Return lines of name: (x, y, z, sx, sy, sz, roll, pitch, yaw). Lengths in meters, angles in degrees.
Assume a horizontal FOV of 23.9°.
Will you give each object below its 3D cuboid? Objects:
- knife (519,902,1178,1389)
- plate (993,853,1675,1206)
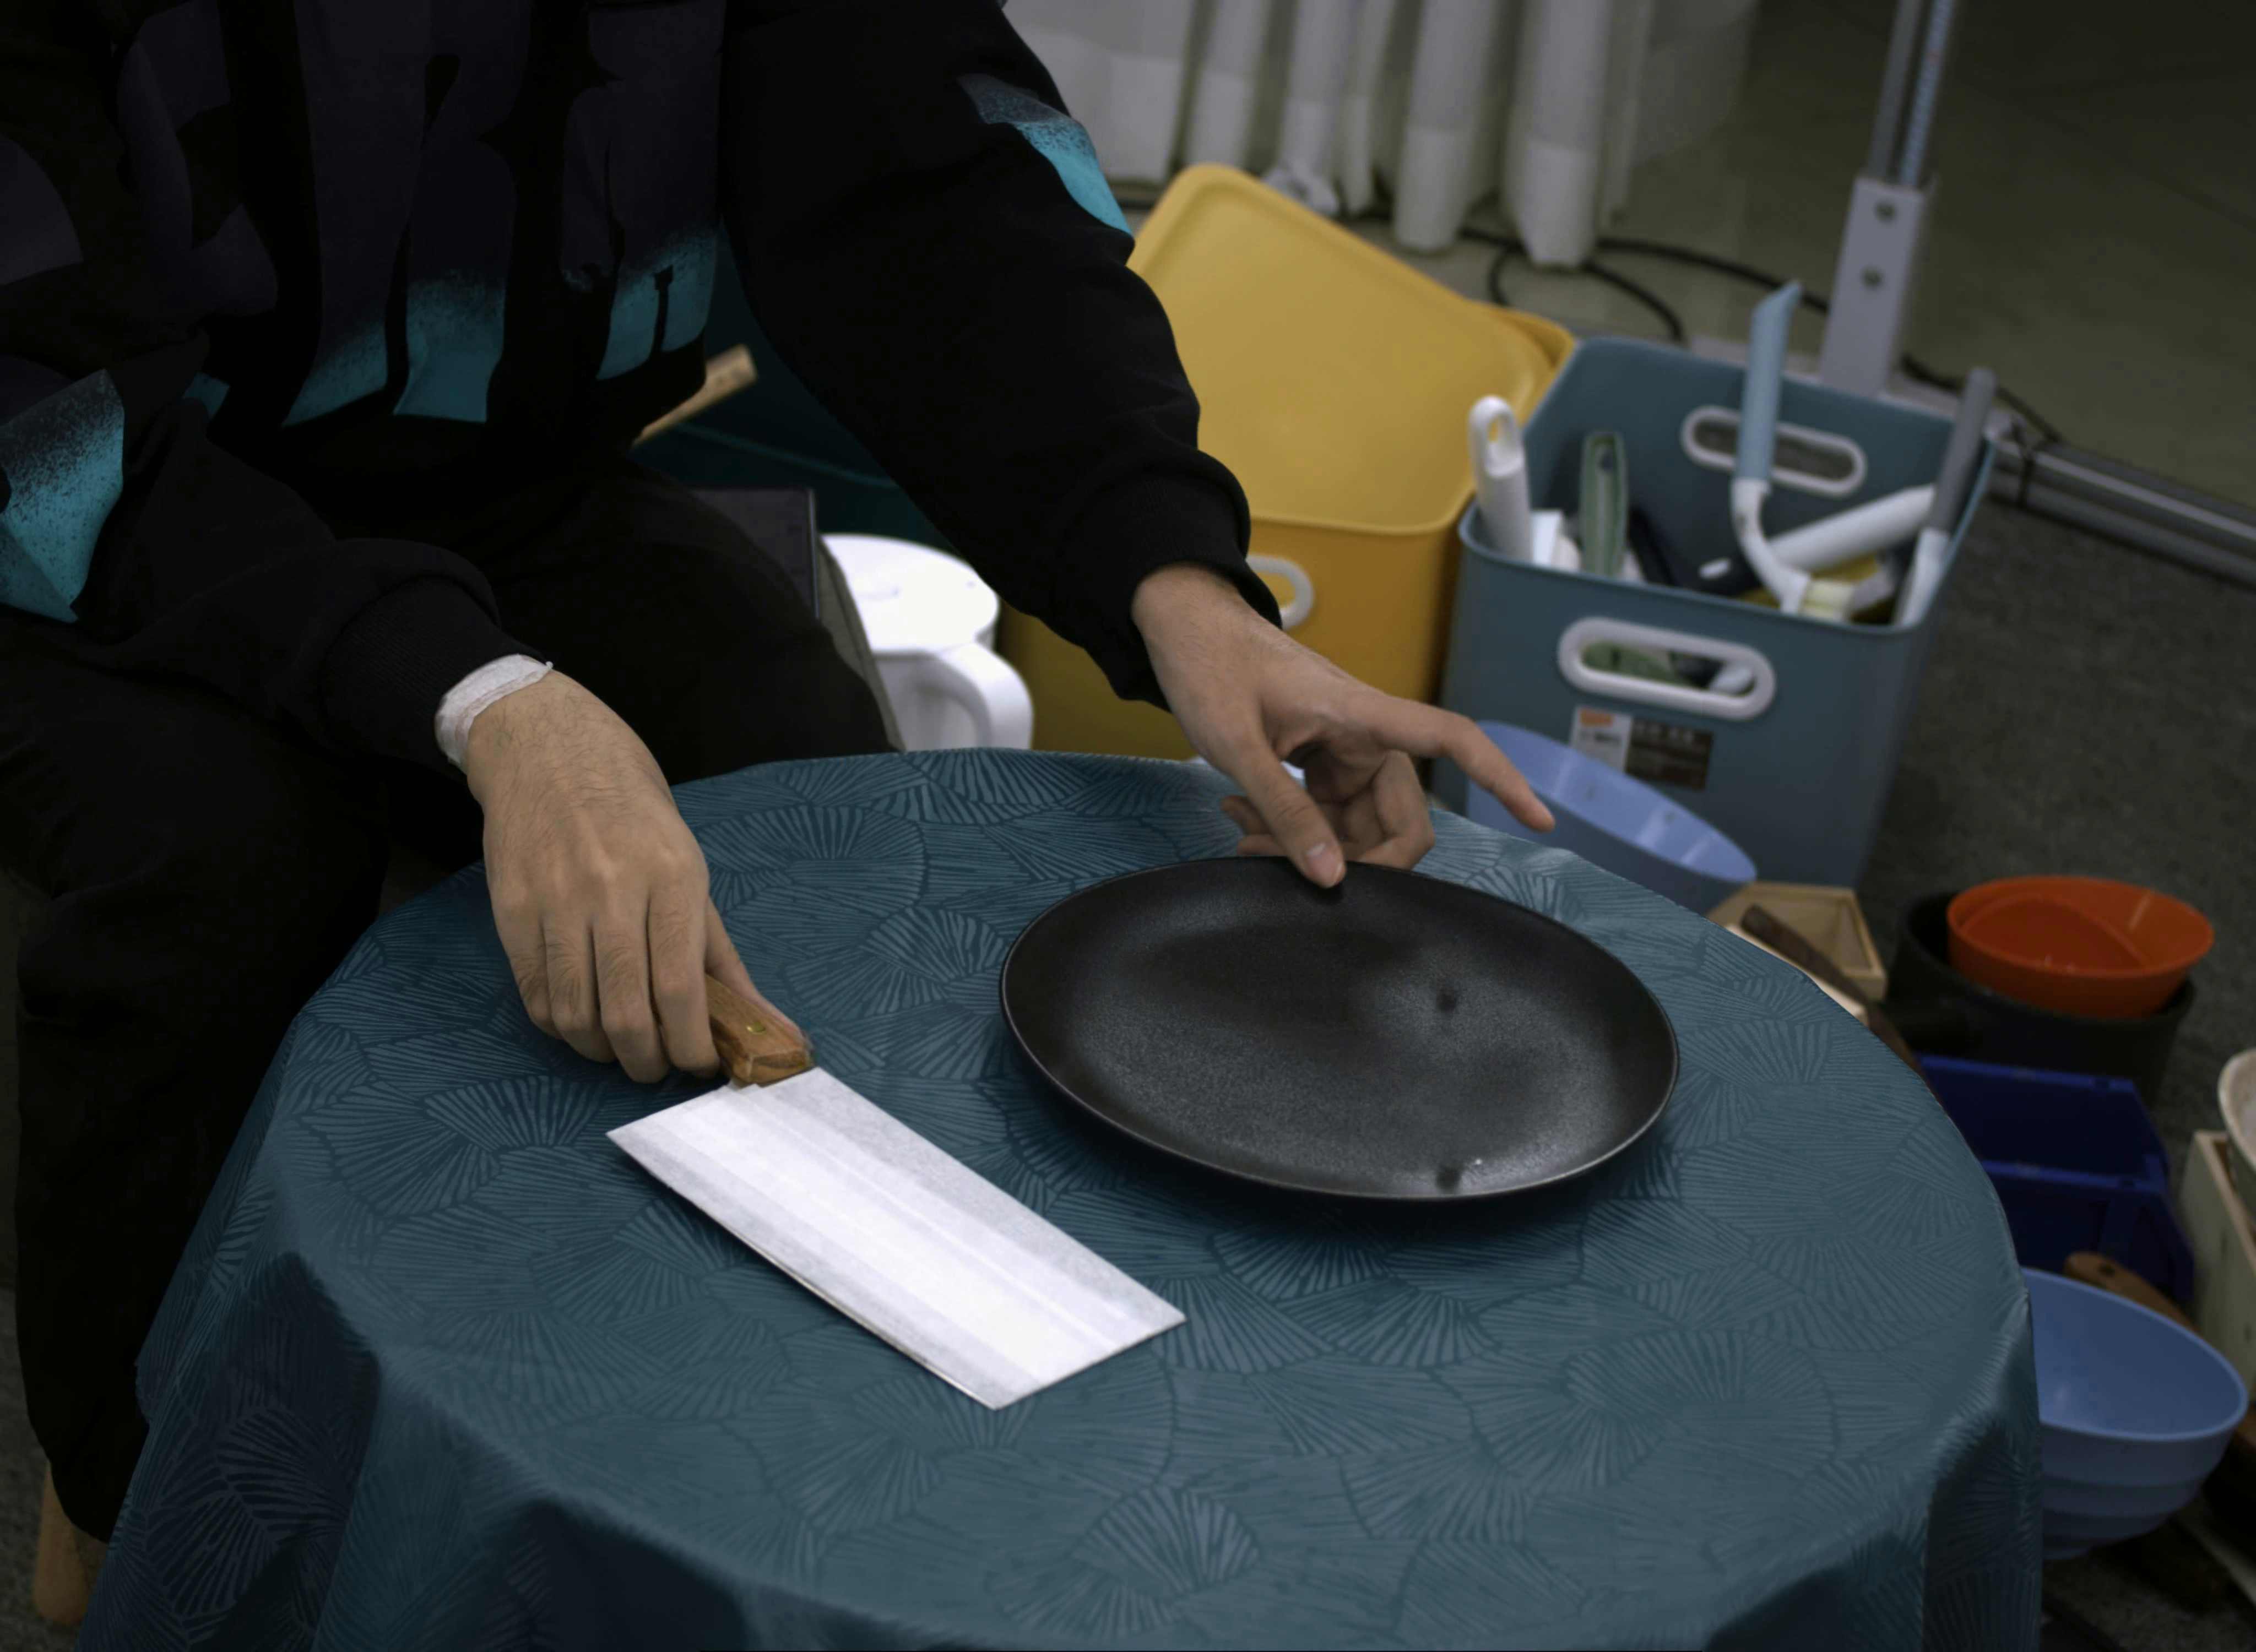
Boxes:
knife: (-0.117, 0.108, 1.791, 0.092, 0.021, 0.308, -21, 40, -41)
plate: (0.072, 0.076, 1.885, 0.243, 0.023, 0.246, 5, 27, -3)
